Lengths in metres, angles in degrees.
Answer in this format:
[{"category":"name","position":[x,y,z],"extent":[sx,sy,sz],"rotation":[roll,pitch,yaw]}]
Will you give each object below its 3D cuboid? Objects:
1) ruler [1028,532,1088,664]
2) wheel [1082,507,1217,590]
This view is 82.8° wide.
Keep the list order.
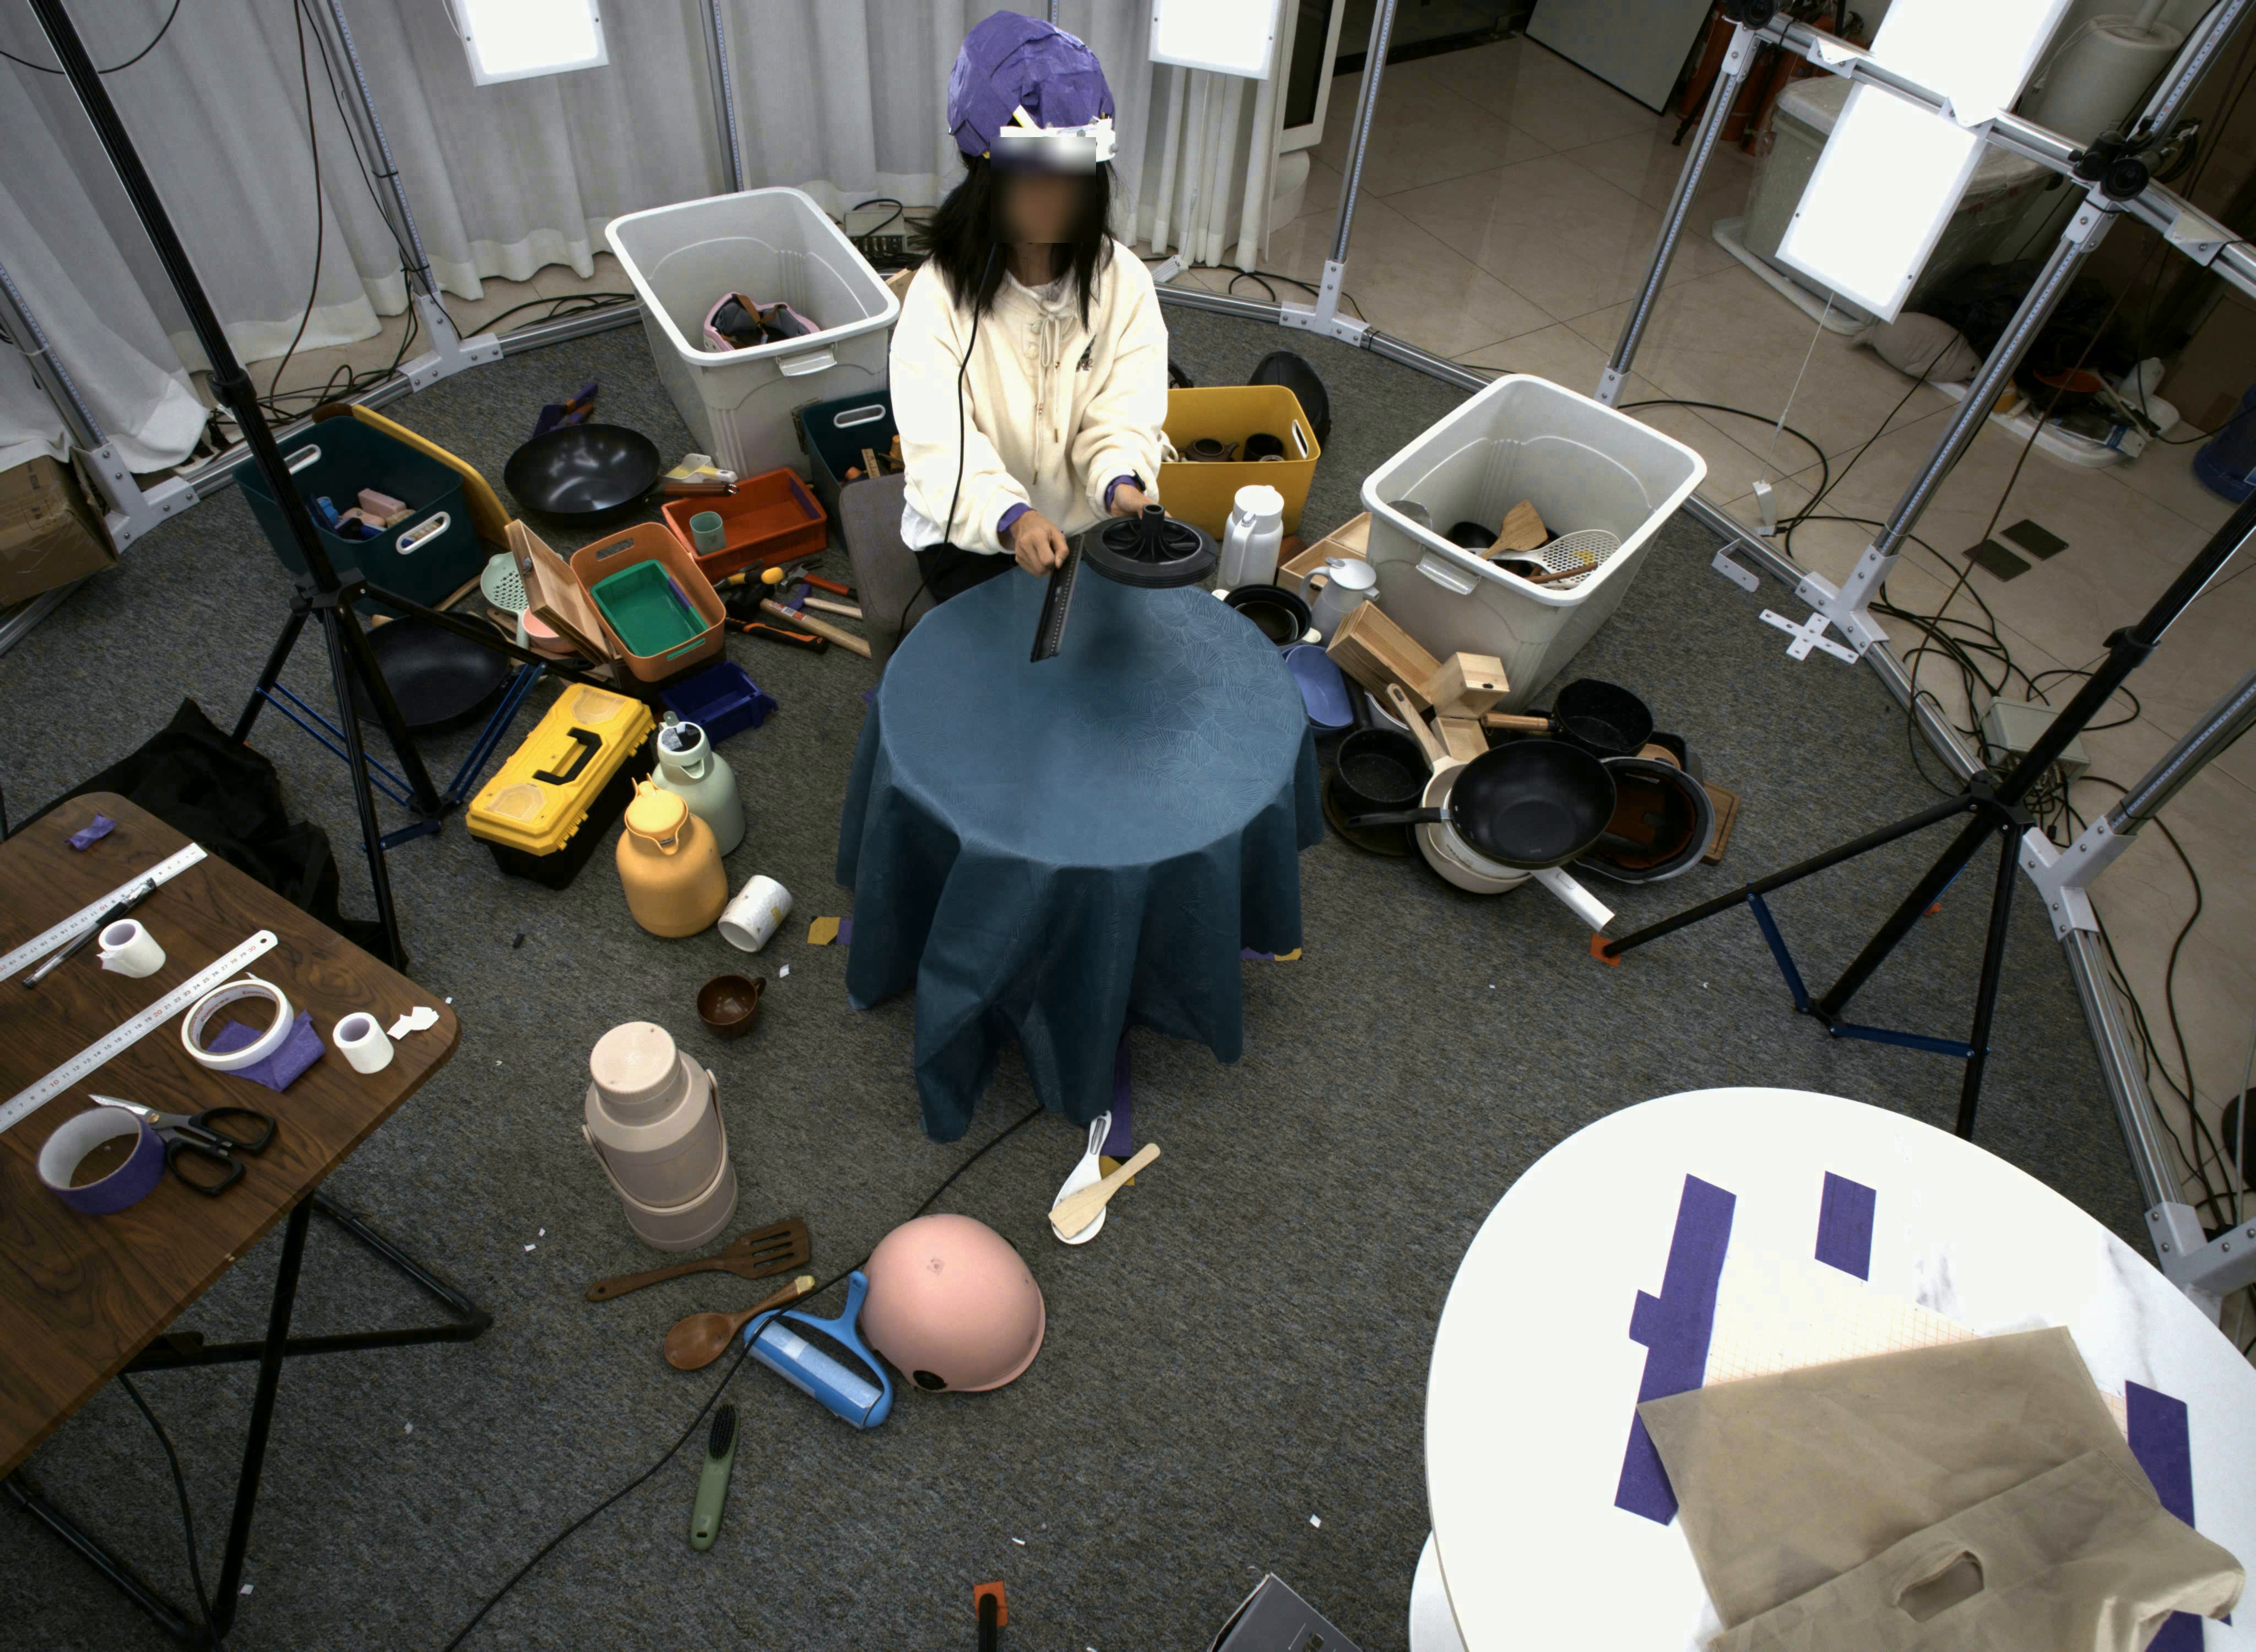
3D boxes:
[{"category":"ruler","position":[-0.091,-0.311,1.698],"extent":[0.039,0.017,0.320],"rotation":[-10,38,16]},{"category":"wheel","position":[0.033,-0.396,1.774],"extent":[0.190,0.077,0.191],"rotation":[-23,45,-32]}]
